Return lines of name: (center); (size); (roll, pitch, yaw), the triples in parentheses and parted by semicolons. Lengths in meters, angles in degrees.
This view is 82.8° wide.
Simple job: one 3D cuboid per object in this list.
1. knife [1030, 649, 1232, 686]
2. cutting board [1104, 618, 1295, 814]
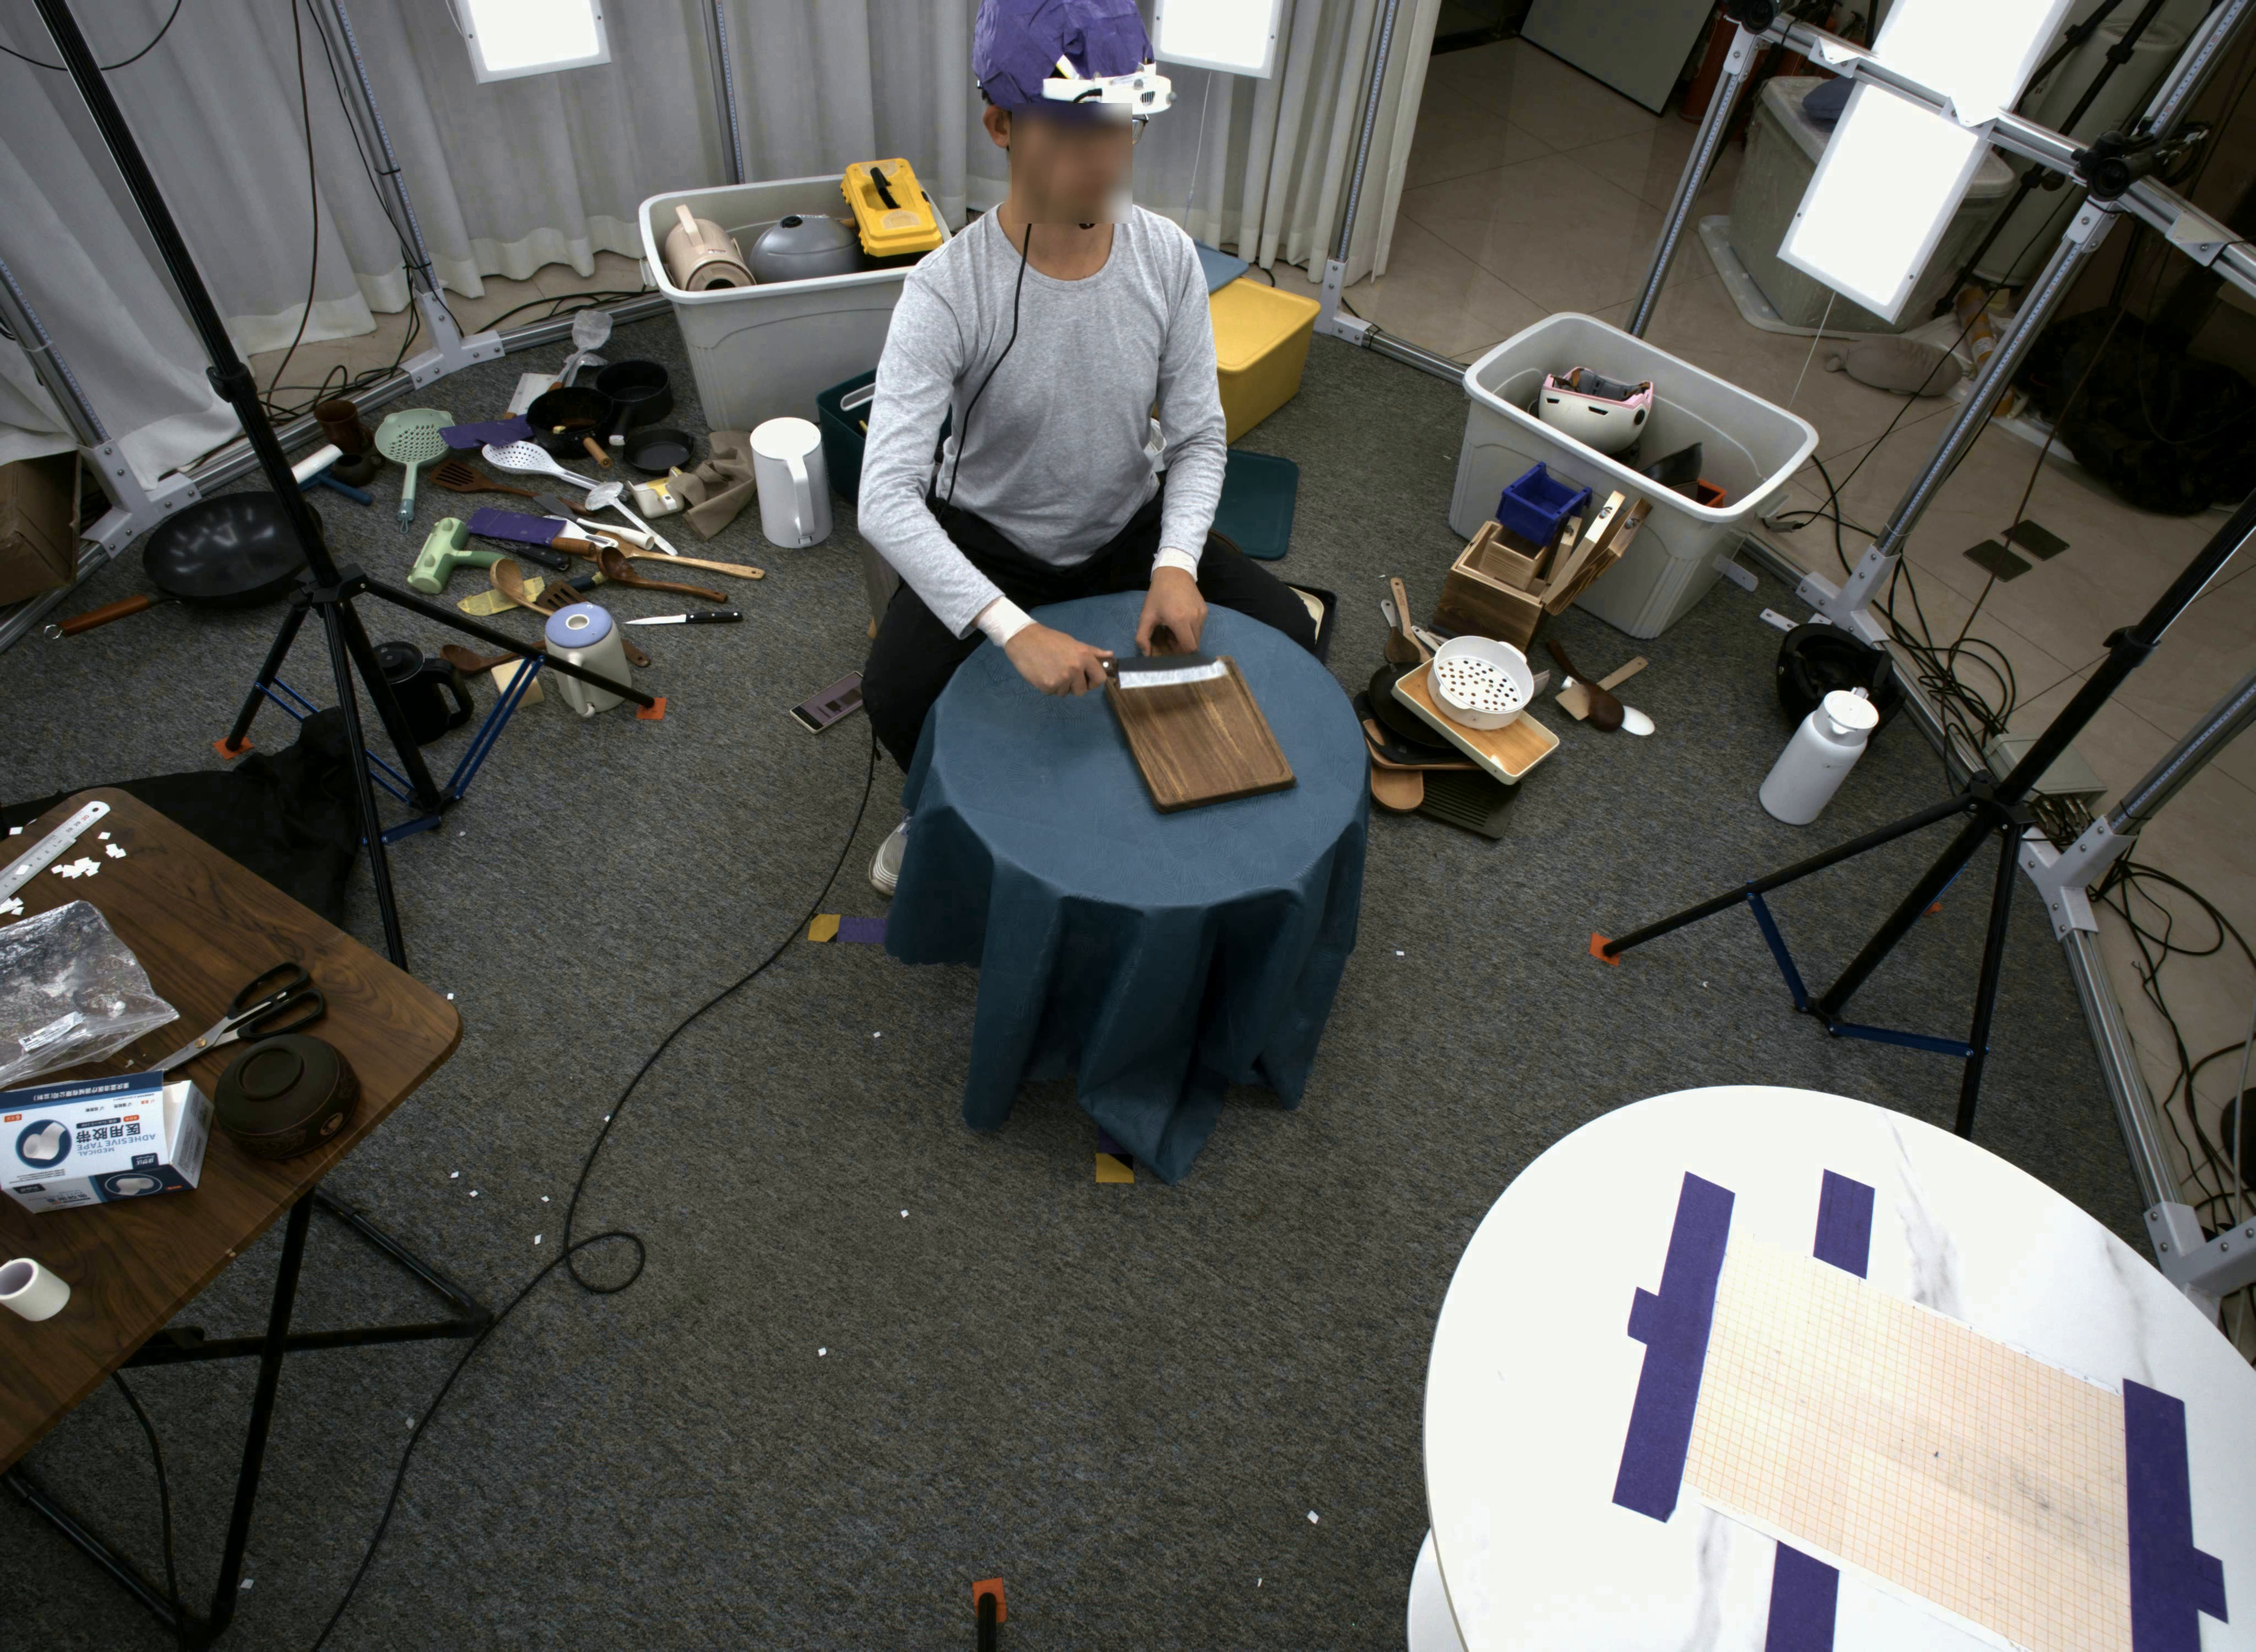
knife: (0.007, -0.217, 1.763); (0.288, 0.020, 0.051); (-4, 74, -16)
cutting board: (0.081, -0.171, 1.805); (0.201, 0.022, 0.361); (-11, 52, -14)
